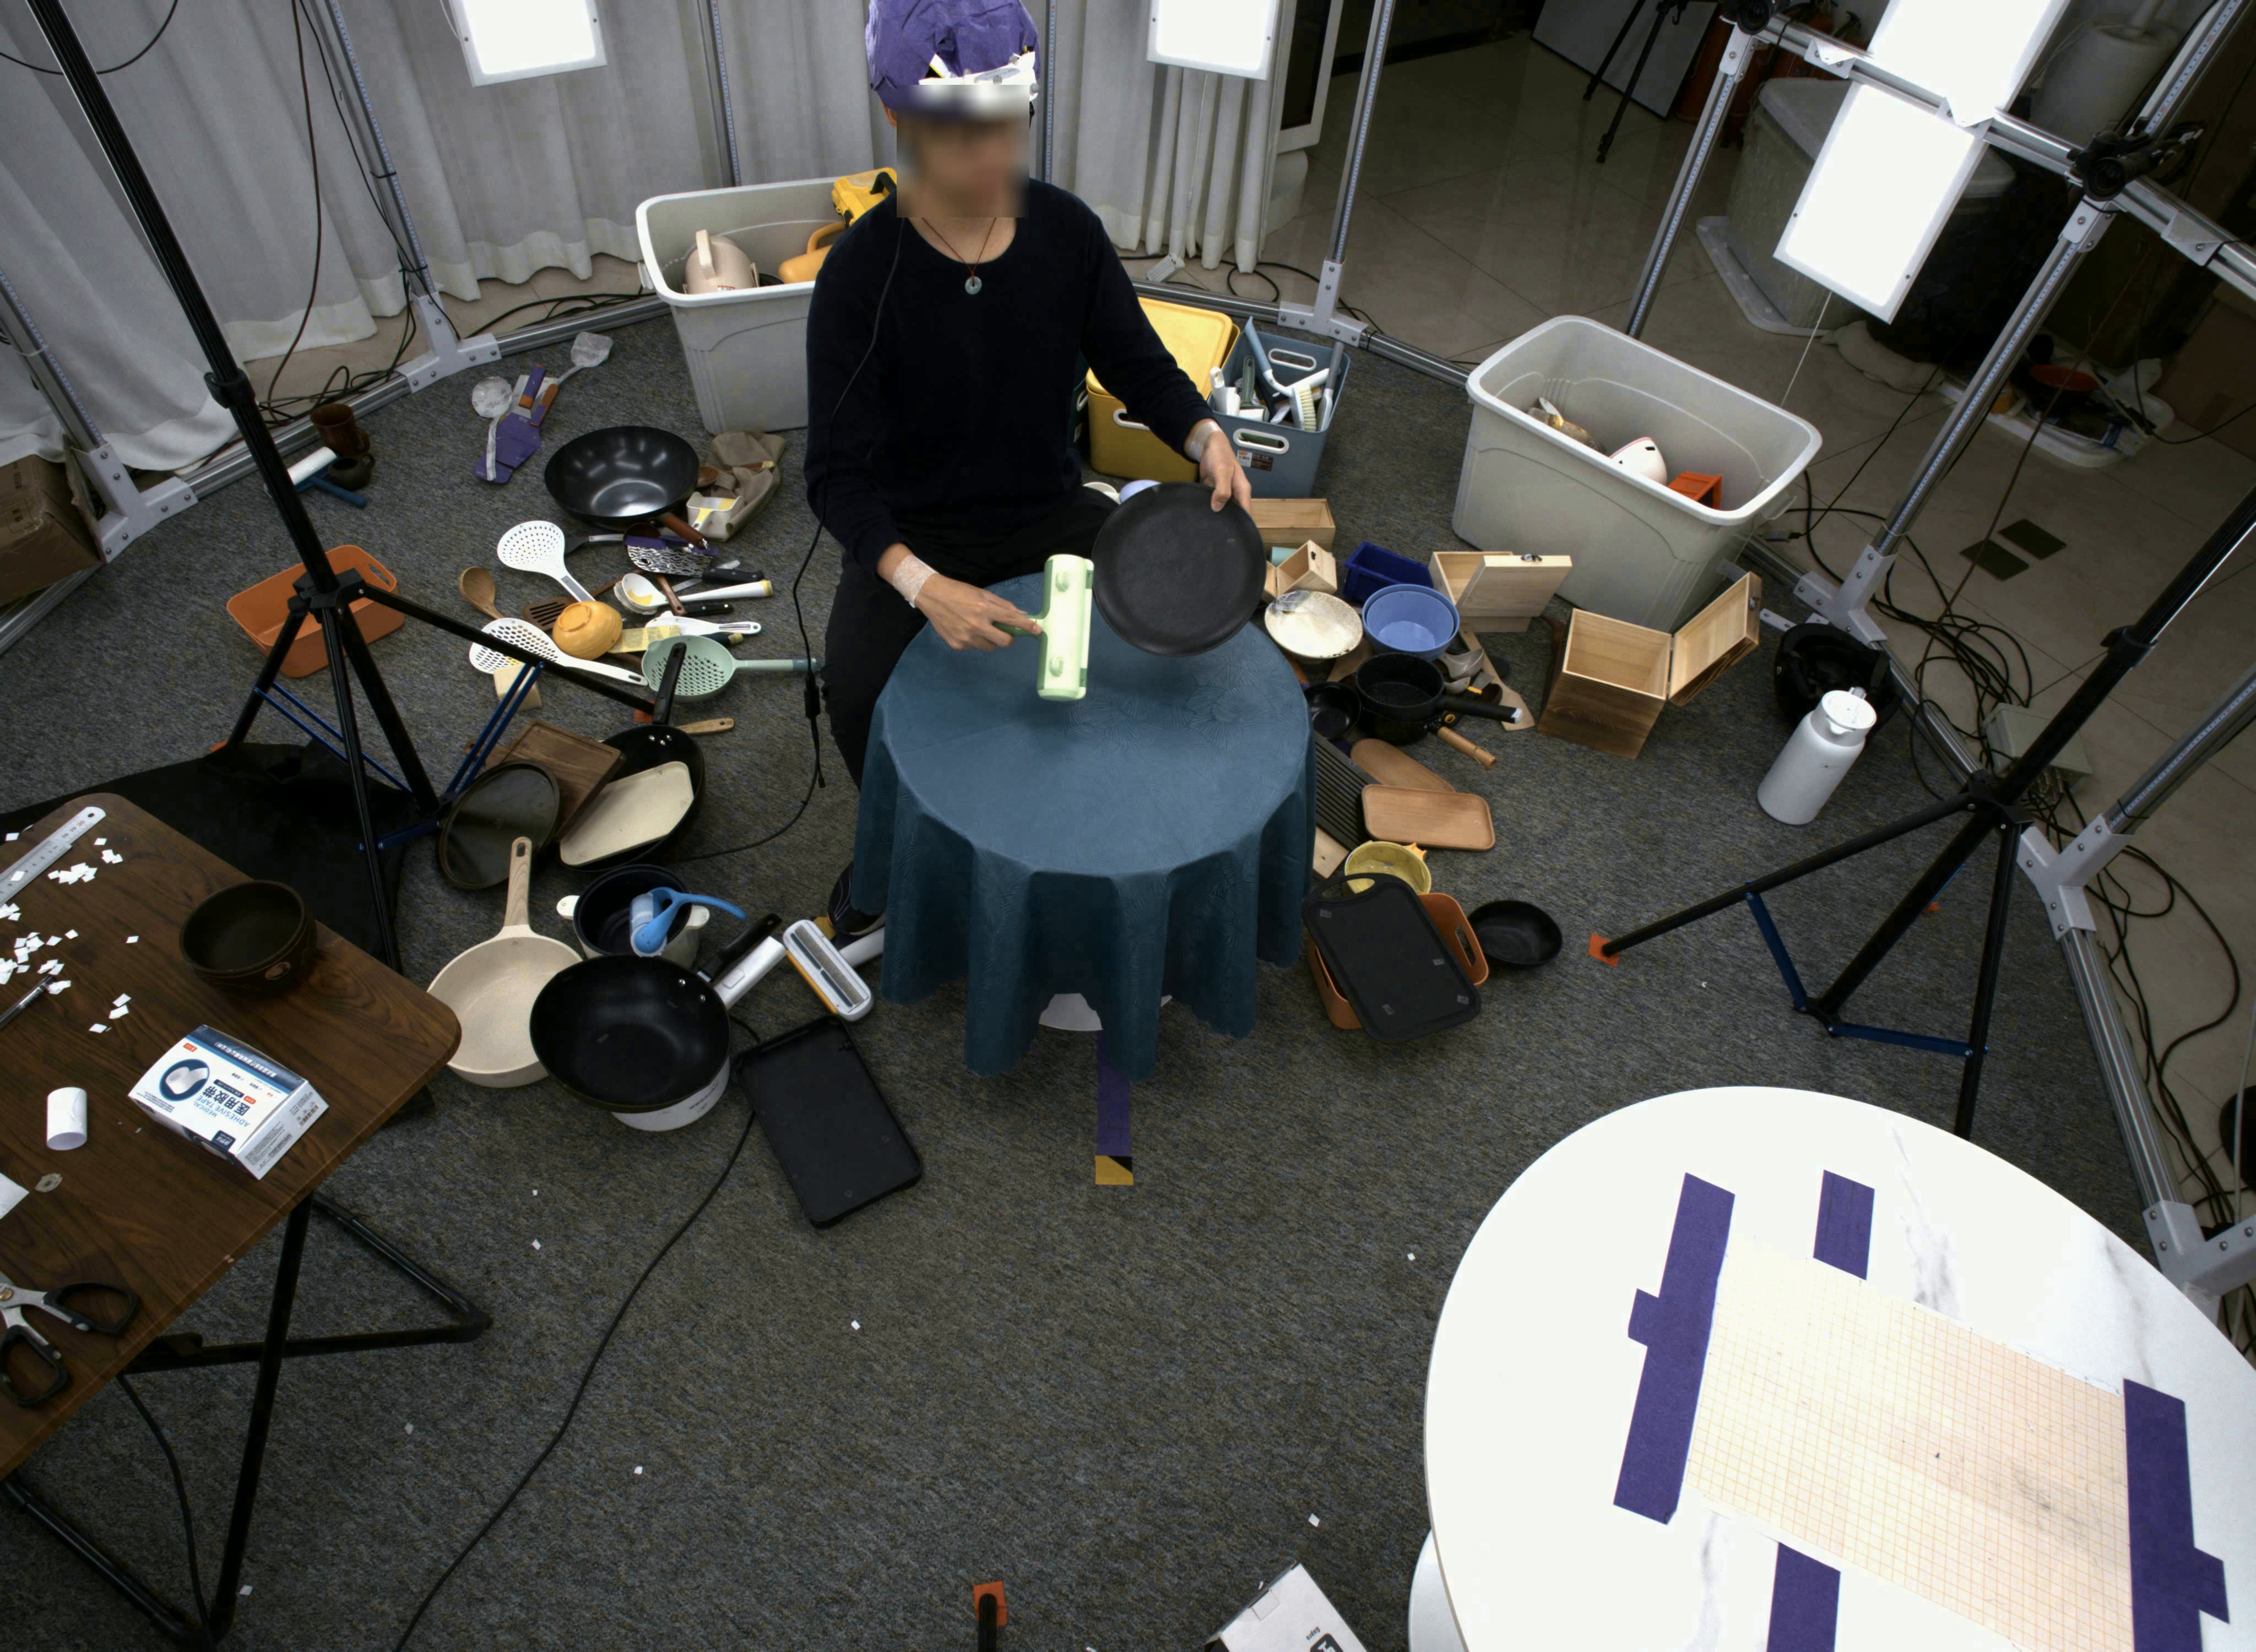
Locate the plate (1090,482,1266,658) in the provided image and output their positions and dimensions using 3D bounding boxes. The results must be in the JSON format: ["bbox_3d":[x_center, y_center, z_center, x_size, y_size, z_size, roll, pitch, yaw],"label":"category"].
[{"bbox_3d":[0.069,-0.352,1.773,0.244,0.023,0.245,0,86,8],"label":"plate"}]

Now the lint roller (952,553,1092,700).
[{"bbox_3d":[-0.142,-0.276,1.739,0.183,0.082,0.200,4,84,-13],"label":"lint roller"}]
